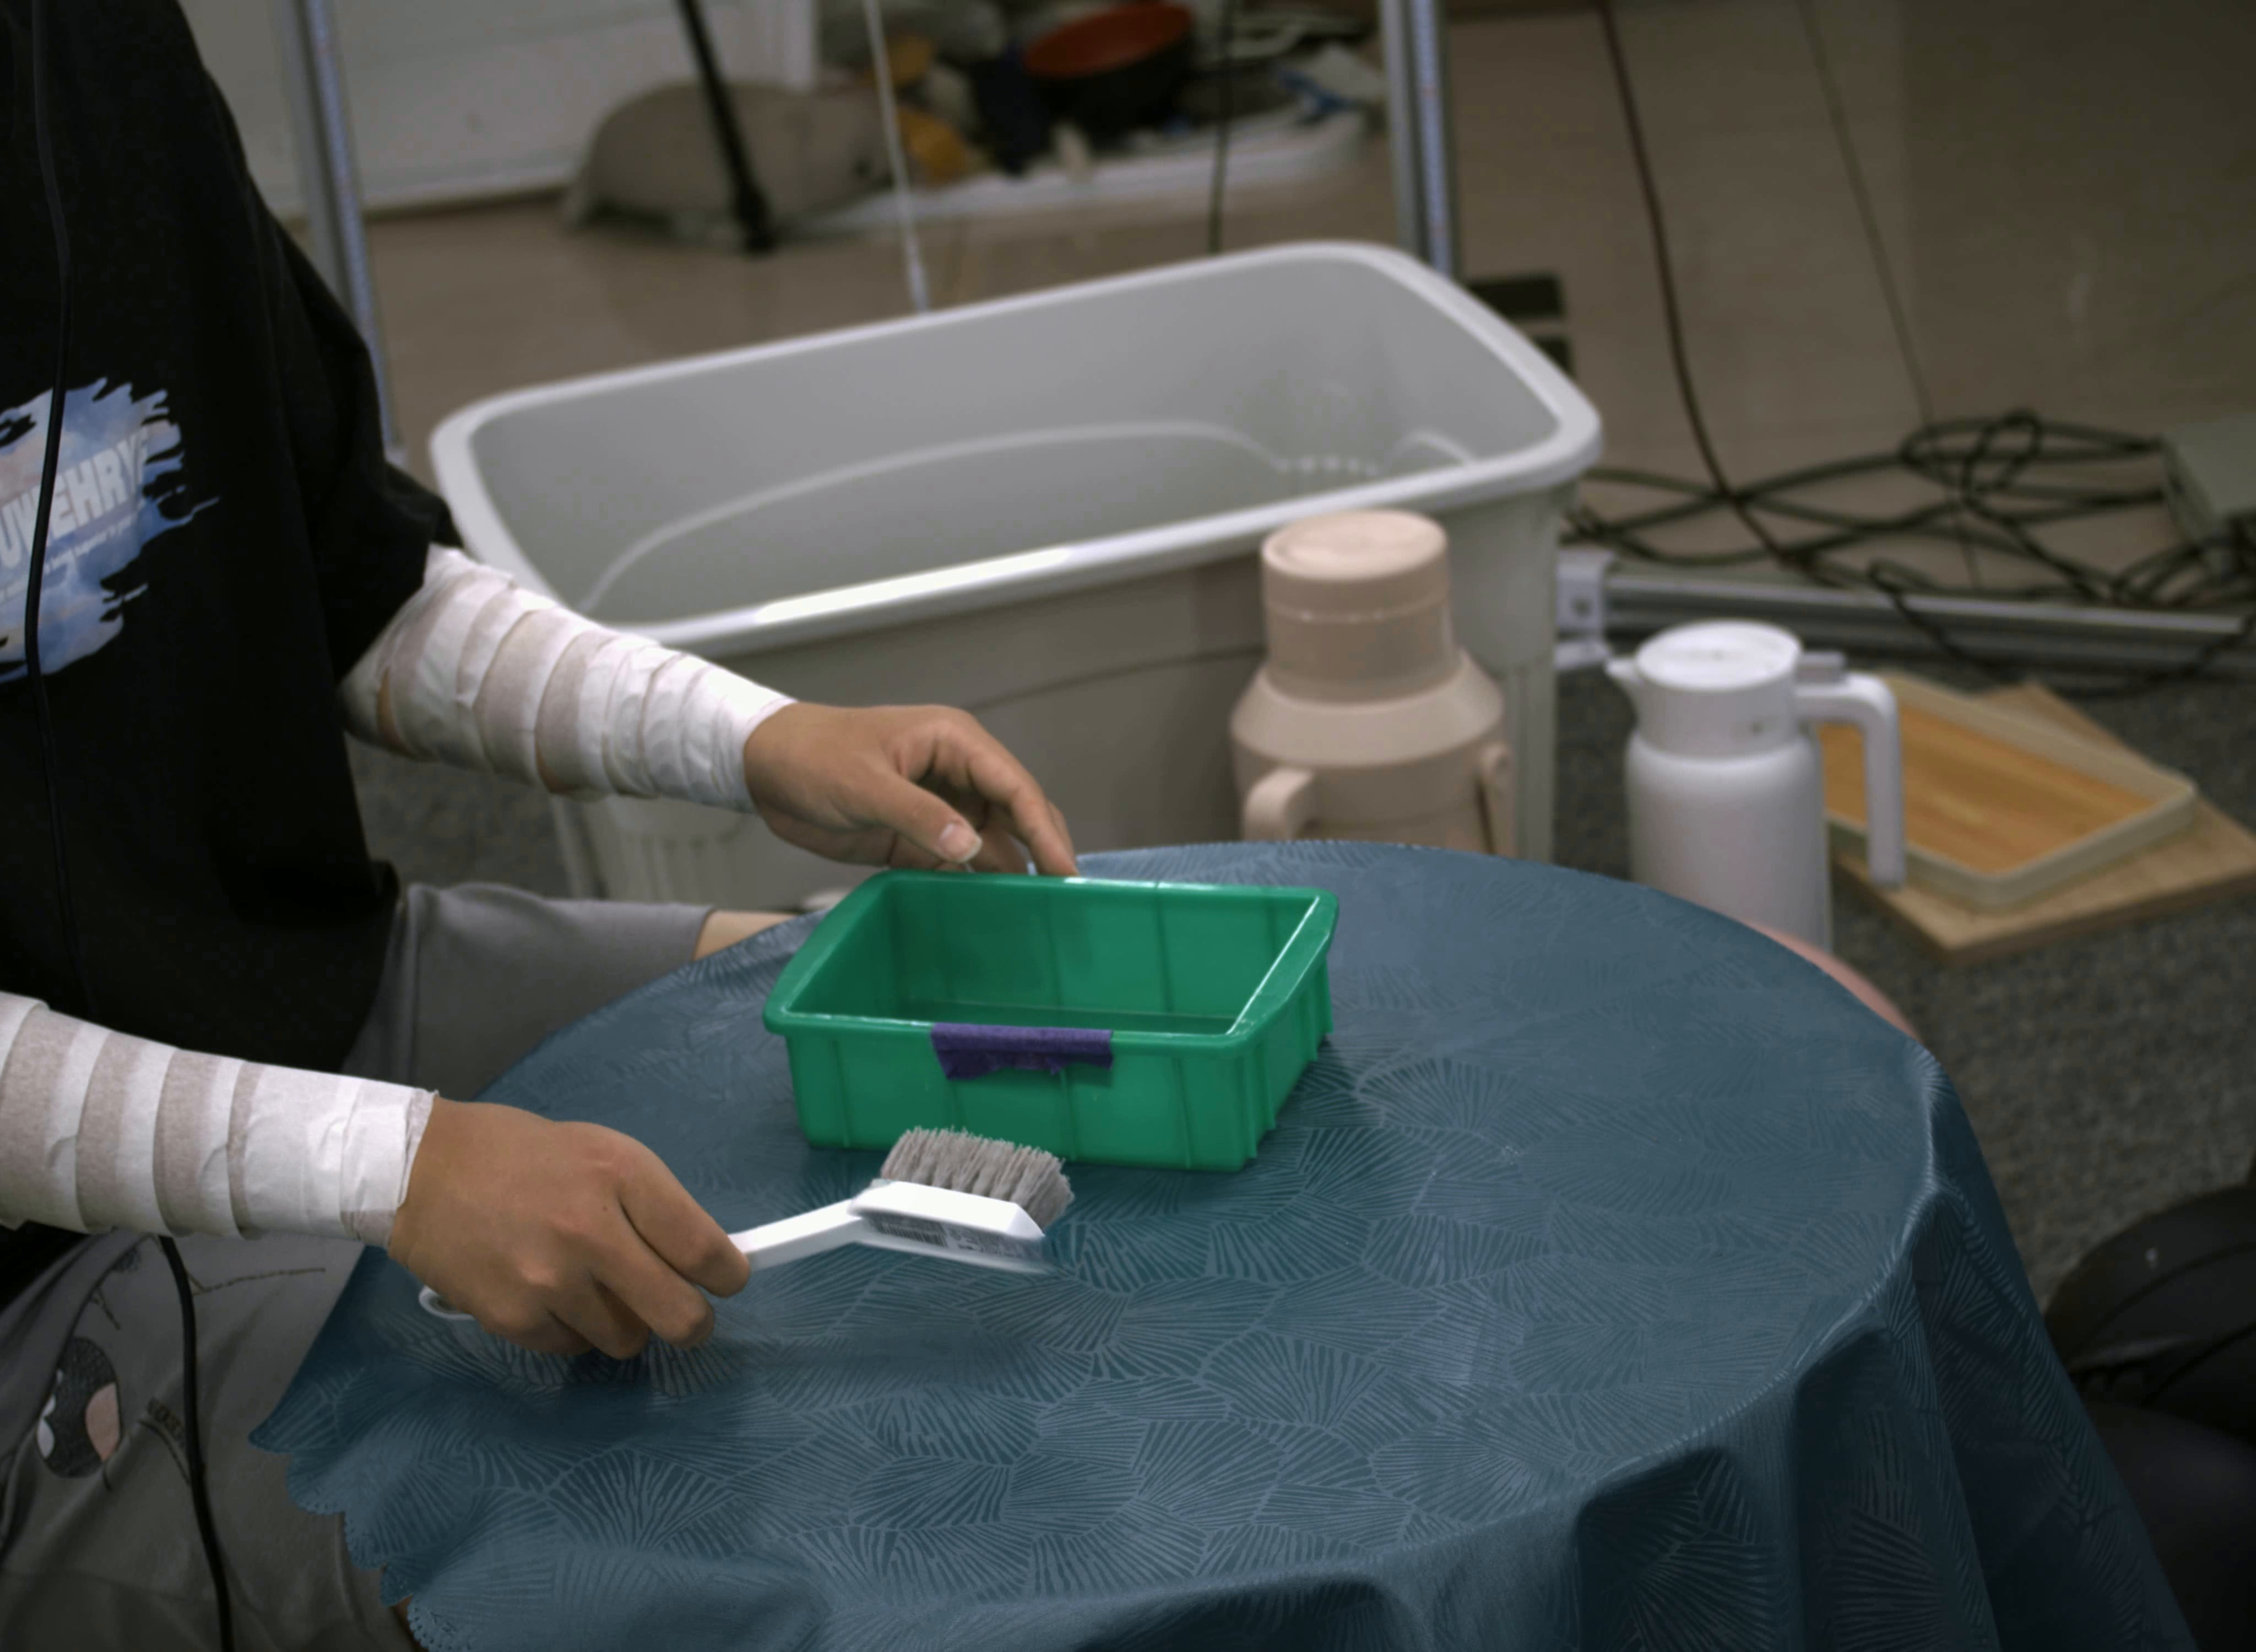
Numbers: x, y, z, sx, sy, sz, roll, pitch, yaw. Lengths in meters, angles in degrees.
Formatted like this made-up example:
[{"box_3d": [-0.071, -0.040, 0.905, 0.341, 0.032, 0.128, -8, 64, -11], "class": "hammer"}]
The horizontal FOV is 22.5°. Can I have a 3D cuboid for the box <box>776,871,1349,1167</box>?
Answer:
[{"box_3d": [-0.021, 0.076, 2.217, 0.210, 0.066, 0.136, 1, 28, 18], "class": "box"}]

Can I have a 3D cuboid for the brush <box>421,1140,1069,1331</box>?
[{"box_3d": [-0.141, 0.148, 2.064, 0.243, 0.035, 0.049, -7, 51, 15], "class": "brush"}]
